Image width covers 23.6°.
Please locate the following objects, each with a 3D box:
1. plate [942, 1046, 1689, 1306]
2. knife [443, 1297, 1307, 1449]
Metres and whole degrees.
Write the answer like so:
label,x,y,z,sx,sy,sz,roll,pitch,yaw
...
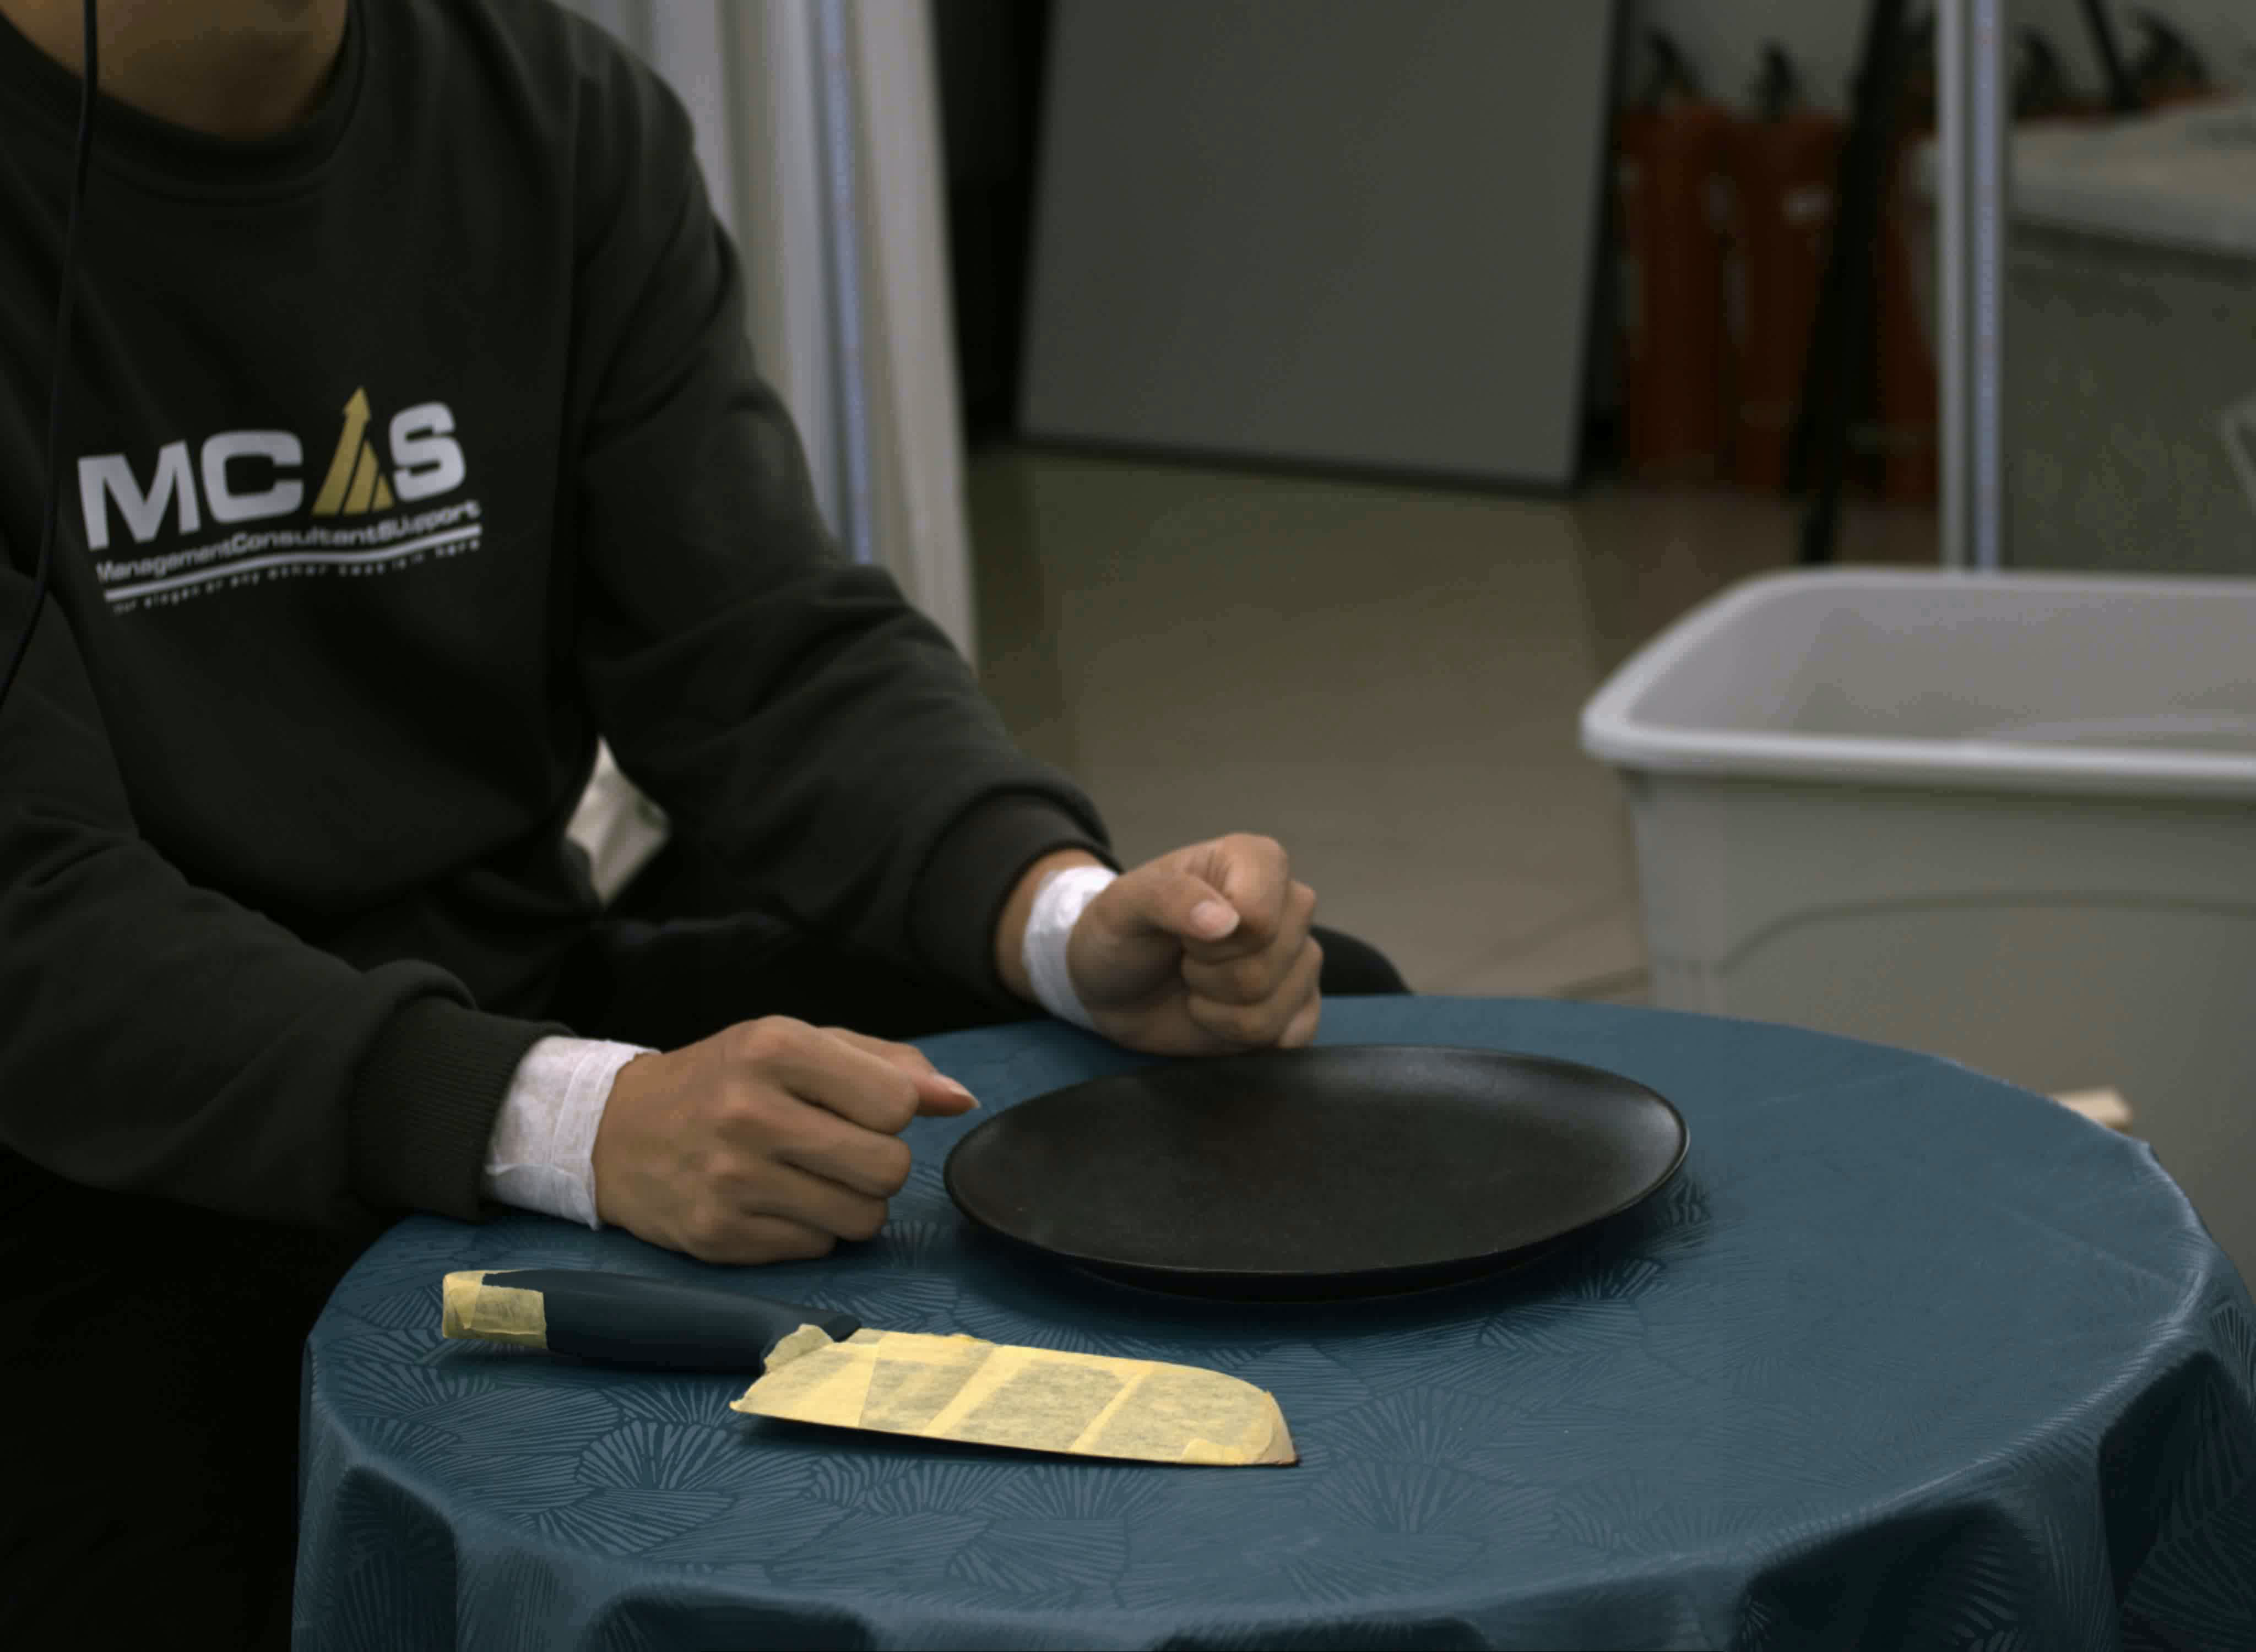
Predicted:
label,x,y,z,sx,sy,sz,roll,pitch,yaw
plate,0.061,0.115,1.734,0.241,0.024,0.245,-4,13,0
knife,-0.081,0.164,1.591,0.289,0.027,0.080,3,13,24
